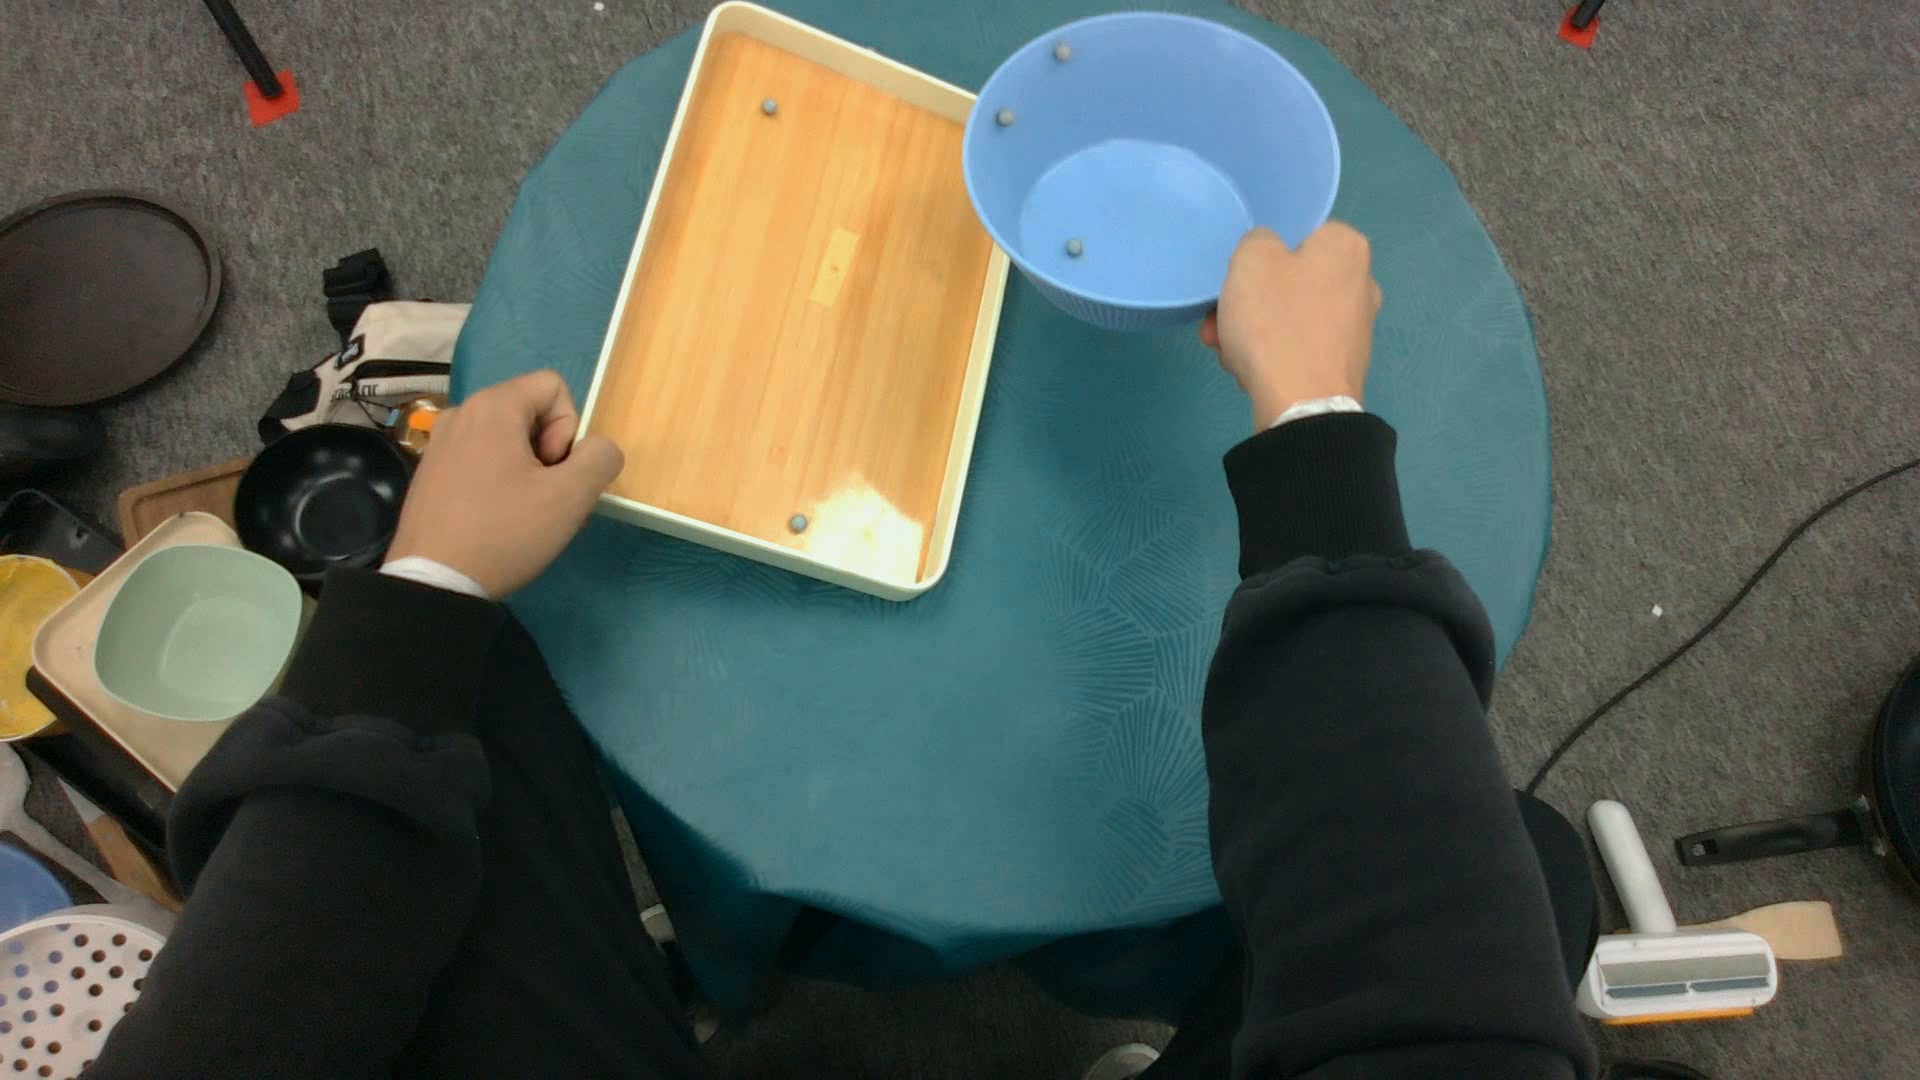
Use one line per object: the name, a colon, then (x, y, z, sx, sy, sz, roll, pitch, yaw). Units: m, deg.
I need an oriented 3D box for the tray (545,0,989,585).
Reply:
tray: (-0.086, -0.138, 0.724, 0.192, 0.027, 0.301, 17, 67, -16)

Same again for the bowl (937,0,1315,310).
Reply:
bowl: (0.078, -0.178, 0.670, 0.176, 0.070, 0.176, -1, 64, 2)
